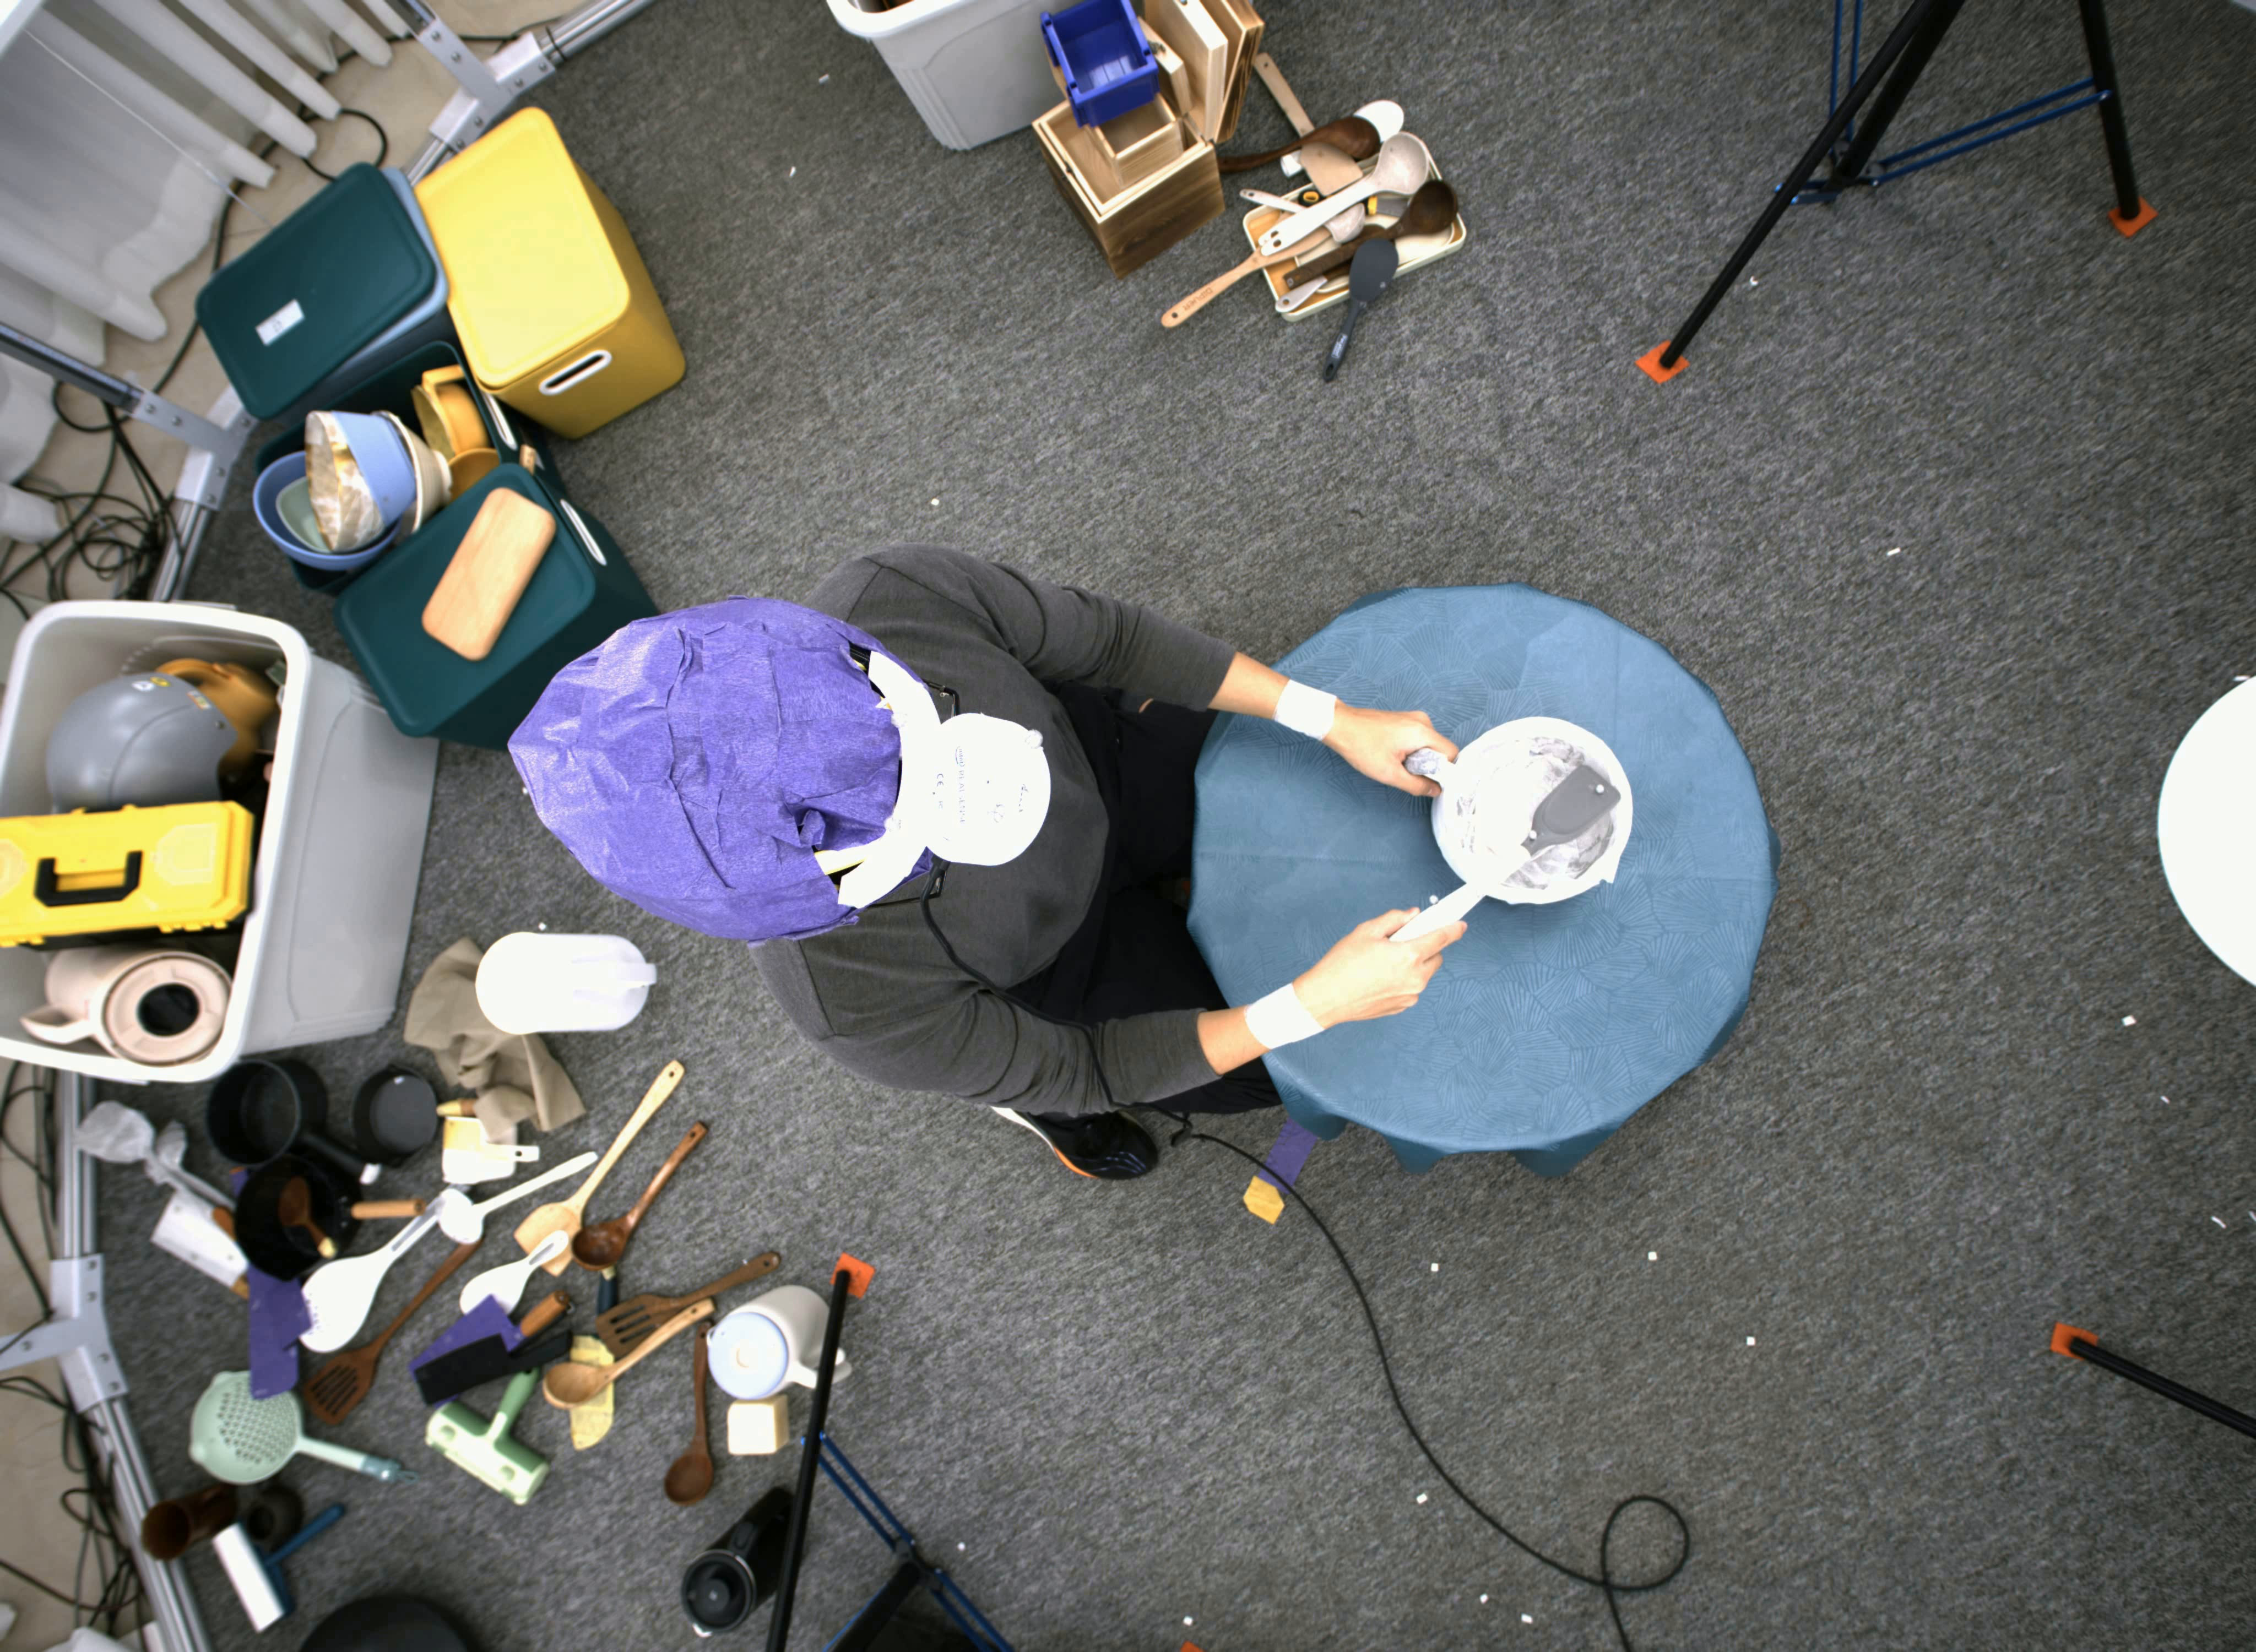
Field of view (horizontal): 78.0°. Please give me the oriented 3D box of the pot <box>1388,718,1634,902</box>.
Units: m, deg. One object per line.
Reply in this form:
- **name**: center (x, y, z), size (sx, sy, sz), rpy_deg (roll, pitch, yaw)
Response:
- **pot**: center (0.372, -0.026, 1.370), size (0.233, 0.136, 0.179), rpy_deg (24, 92, 6)

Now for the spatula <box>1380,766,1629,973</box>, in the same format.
- **spatula**: center (0.351, 0.039, 1.286), size (0.285, 0.033, 0.058), rpy_deg (-36, 62, -12)
